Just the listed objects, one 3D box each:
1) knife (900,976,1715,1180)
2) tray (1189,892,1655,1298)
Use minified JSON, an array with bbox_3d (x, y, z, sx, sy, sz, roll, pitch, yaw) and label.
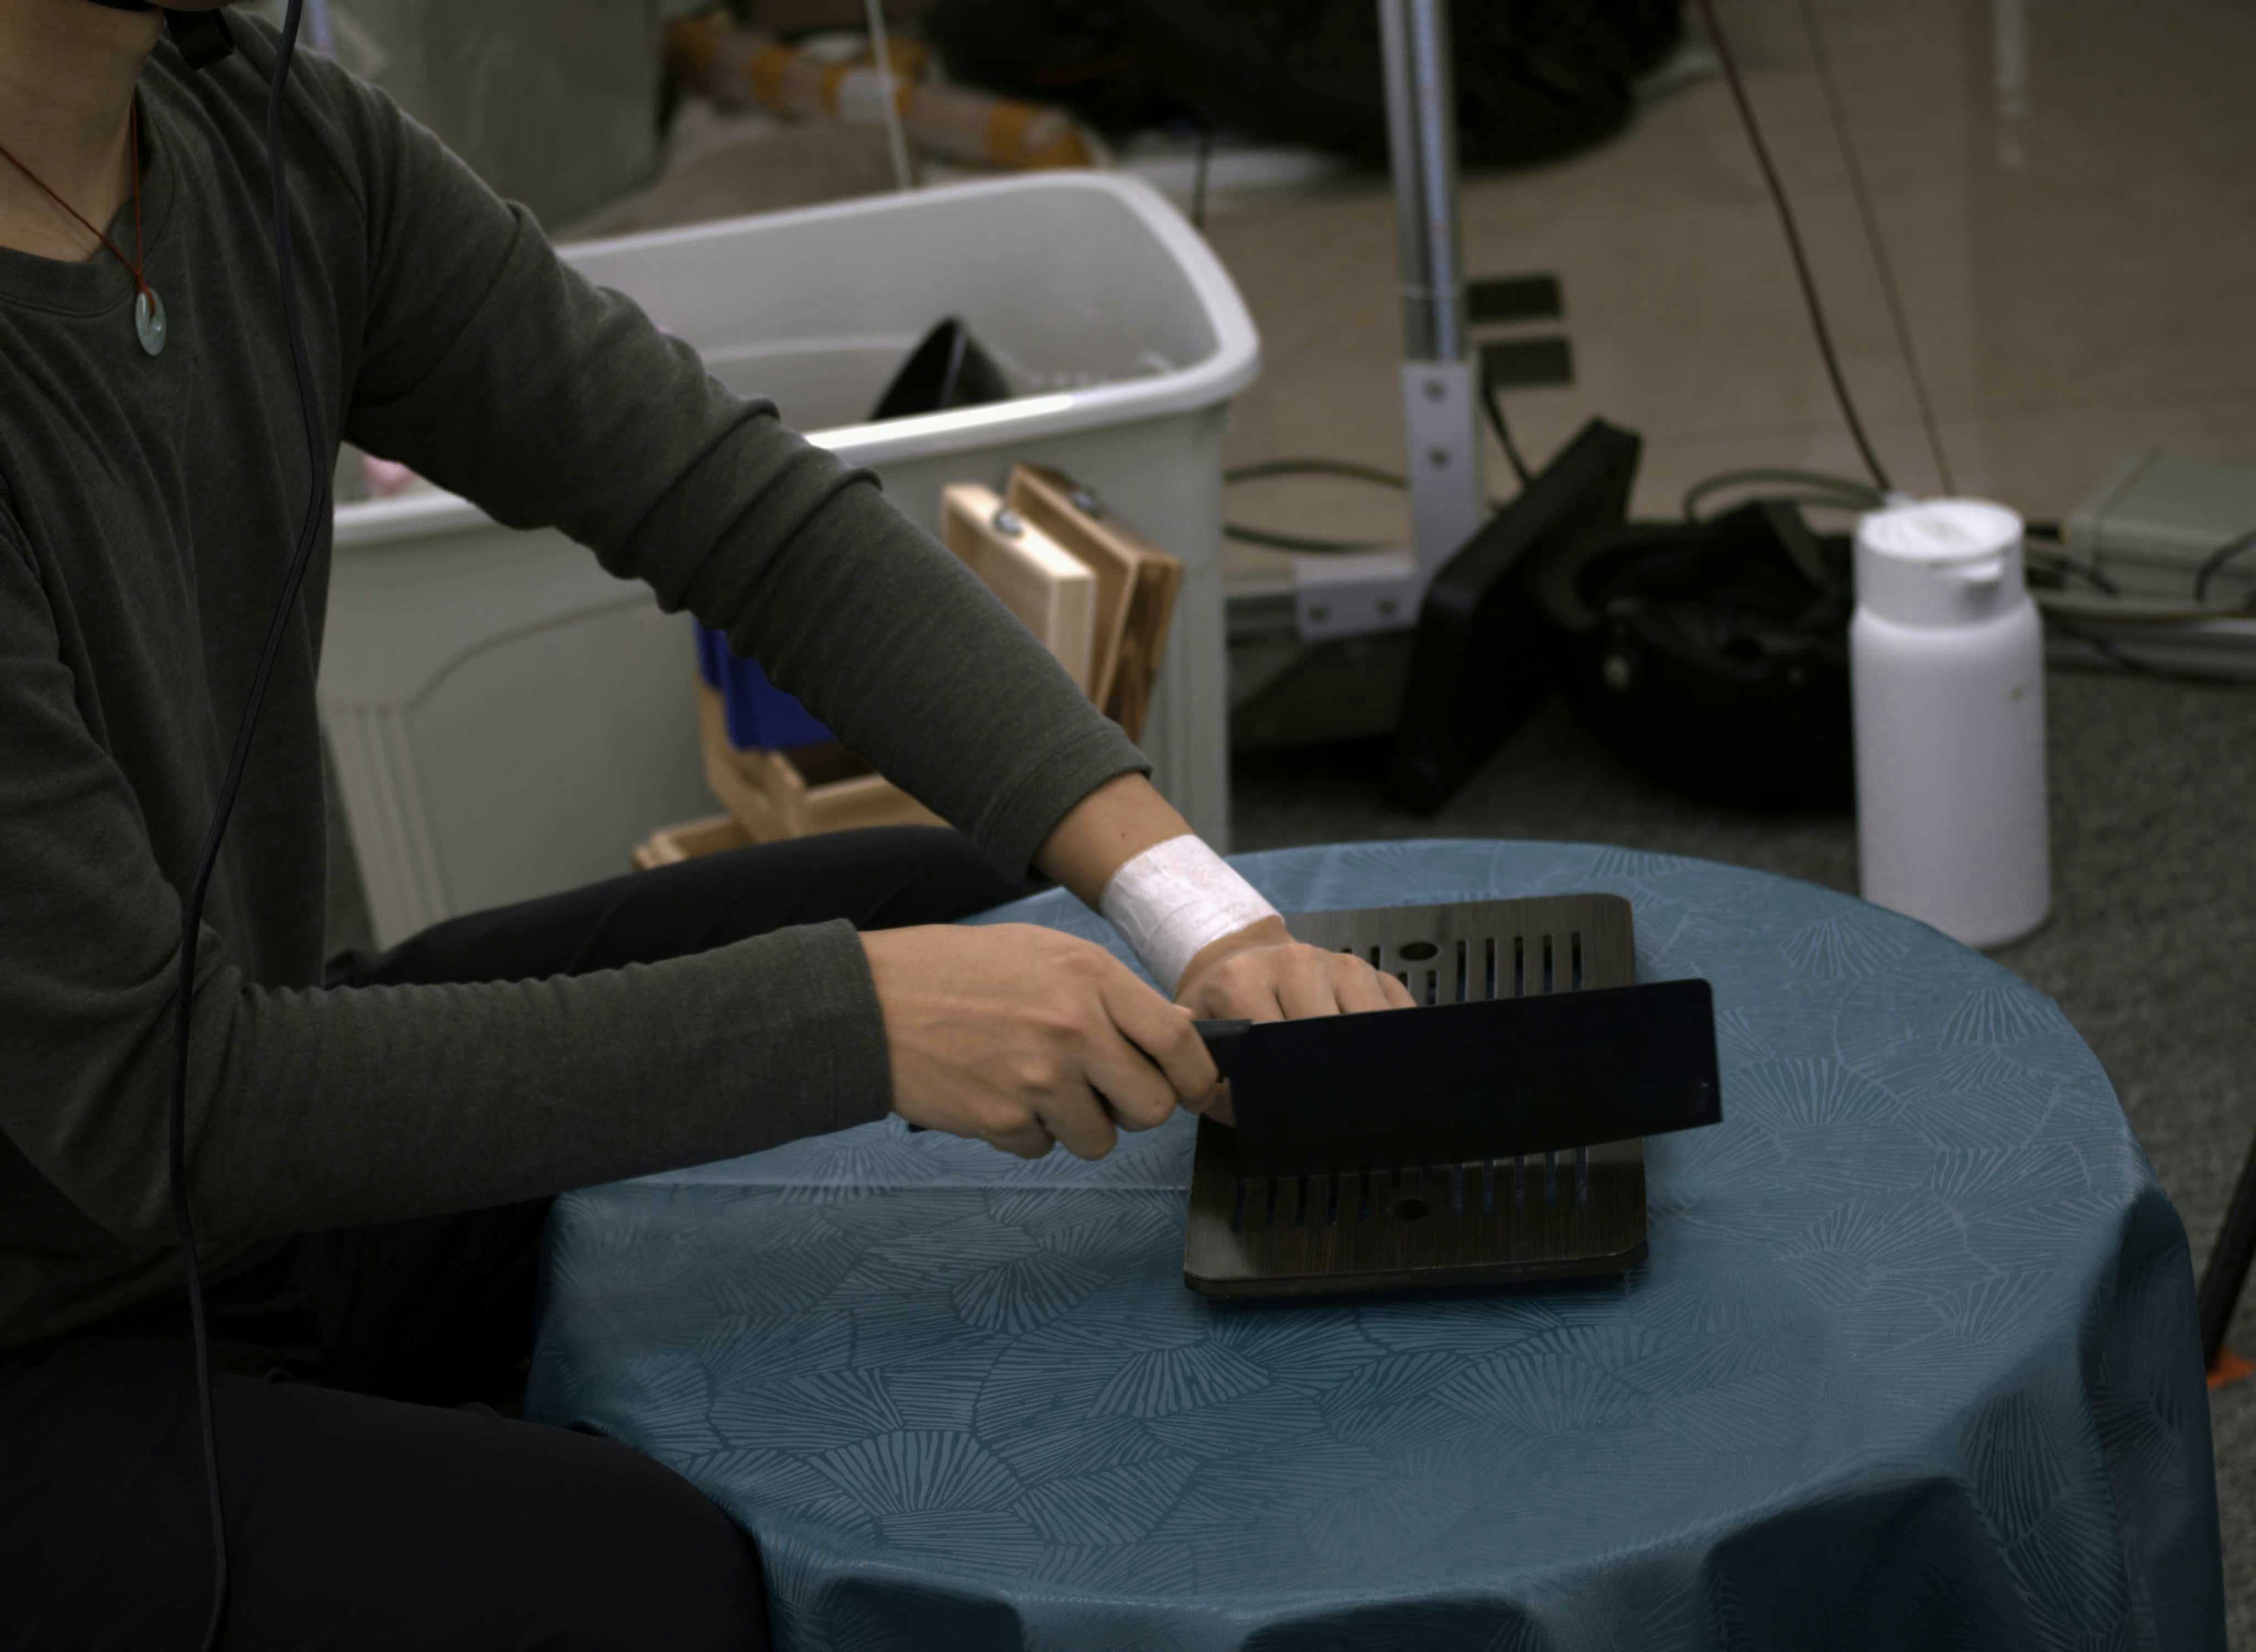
[{"bbox_3d":[0.065,0.096,2.095,0.302,0.082,0.020,-2,26,3],"label":"knife"},{"bbox_3d":[0.116,0.102,2.181,0.170,0.019,0.301,-5,24,6],"label":"tray"}]
